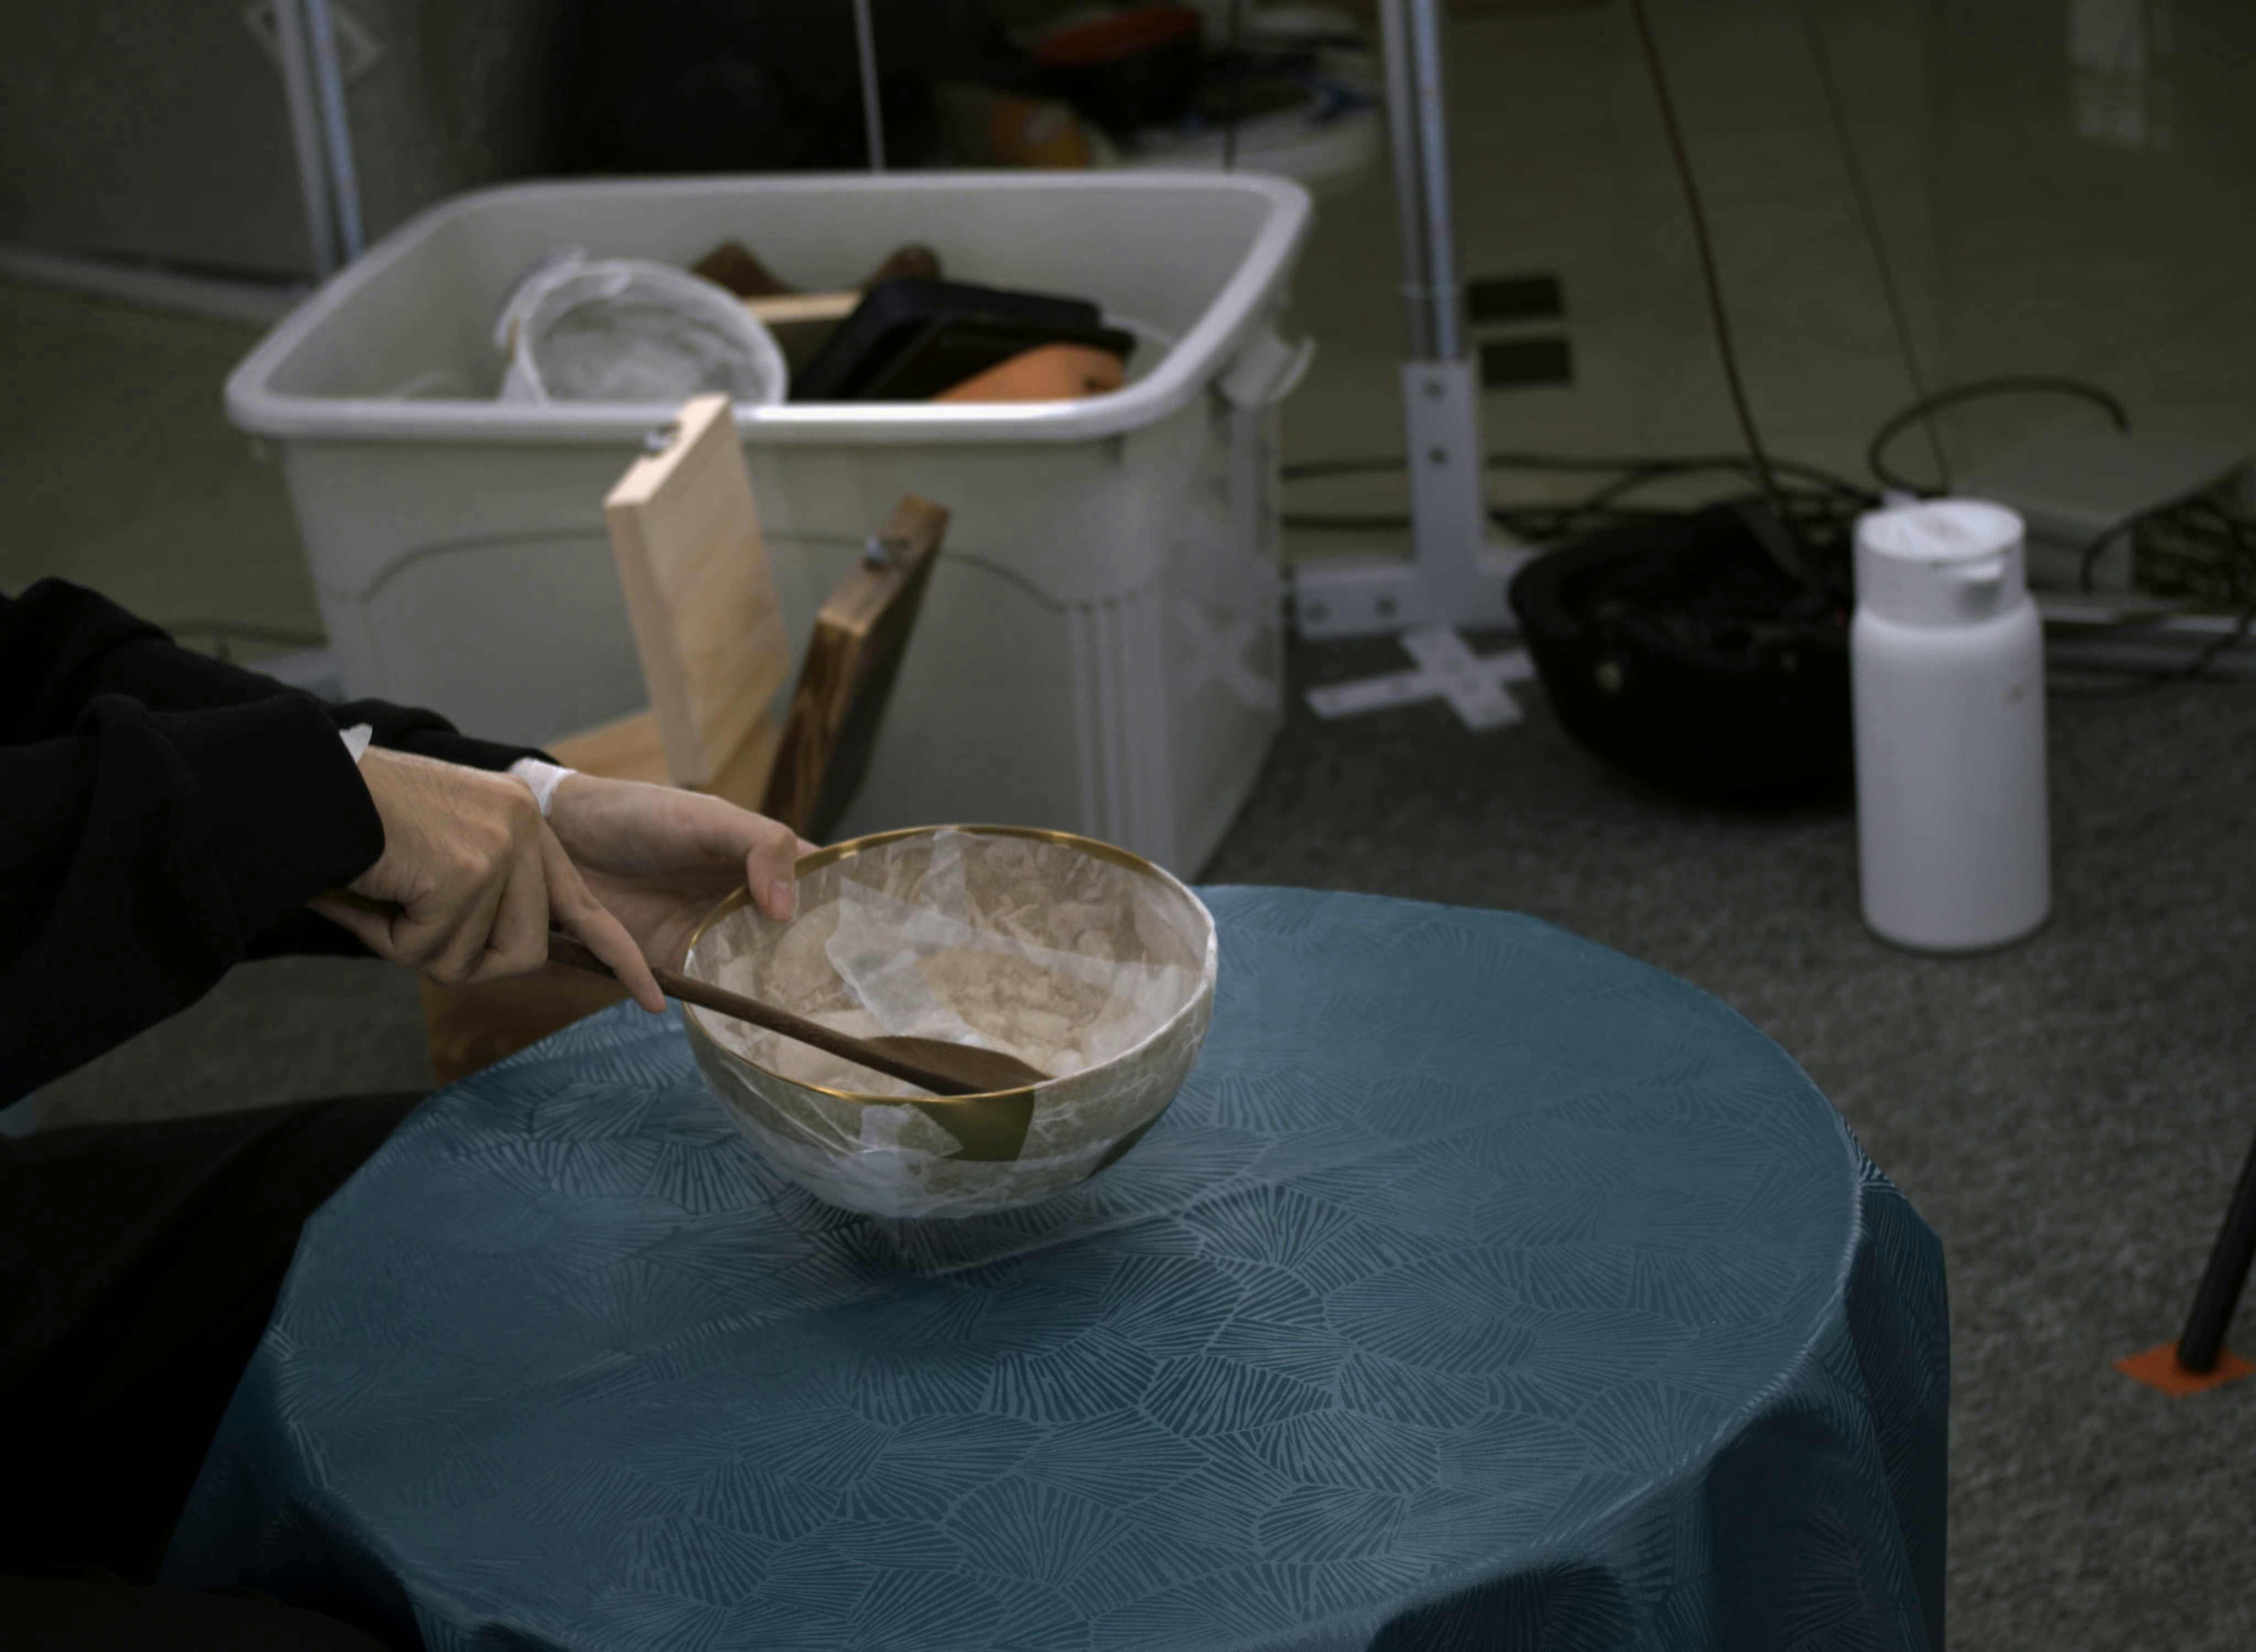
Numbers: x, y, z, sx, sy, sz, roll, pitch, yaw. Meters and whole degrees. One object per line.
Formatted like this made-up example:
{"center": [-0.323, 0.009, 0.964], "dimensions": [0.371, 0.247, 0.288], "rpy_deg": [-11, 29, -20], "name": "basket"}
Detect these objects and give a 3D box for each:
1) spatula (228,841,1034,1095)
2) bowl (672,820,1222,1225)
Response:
{"center": [-0.160, 0.058, 2.049], "dimensions": [0.388, 0.016, 0.095], "rpy_deg": [20, 2, -38], "name": "spatula"}
{"center": [-0.066, 0.087, 2.136], "dimensions": [0.214, 0.096, 0.211], "rpy_deg": [-4, 31, 2], "name": "bowl"}
